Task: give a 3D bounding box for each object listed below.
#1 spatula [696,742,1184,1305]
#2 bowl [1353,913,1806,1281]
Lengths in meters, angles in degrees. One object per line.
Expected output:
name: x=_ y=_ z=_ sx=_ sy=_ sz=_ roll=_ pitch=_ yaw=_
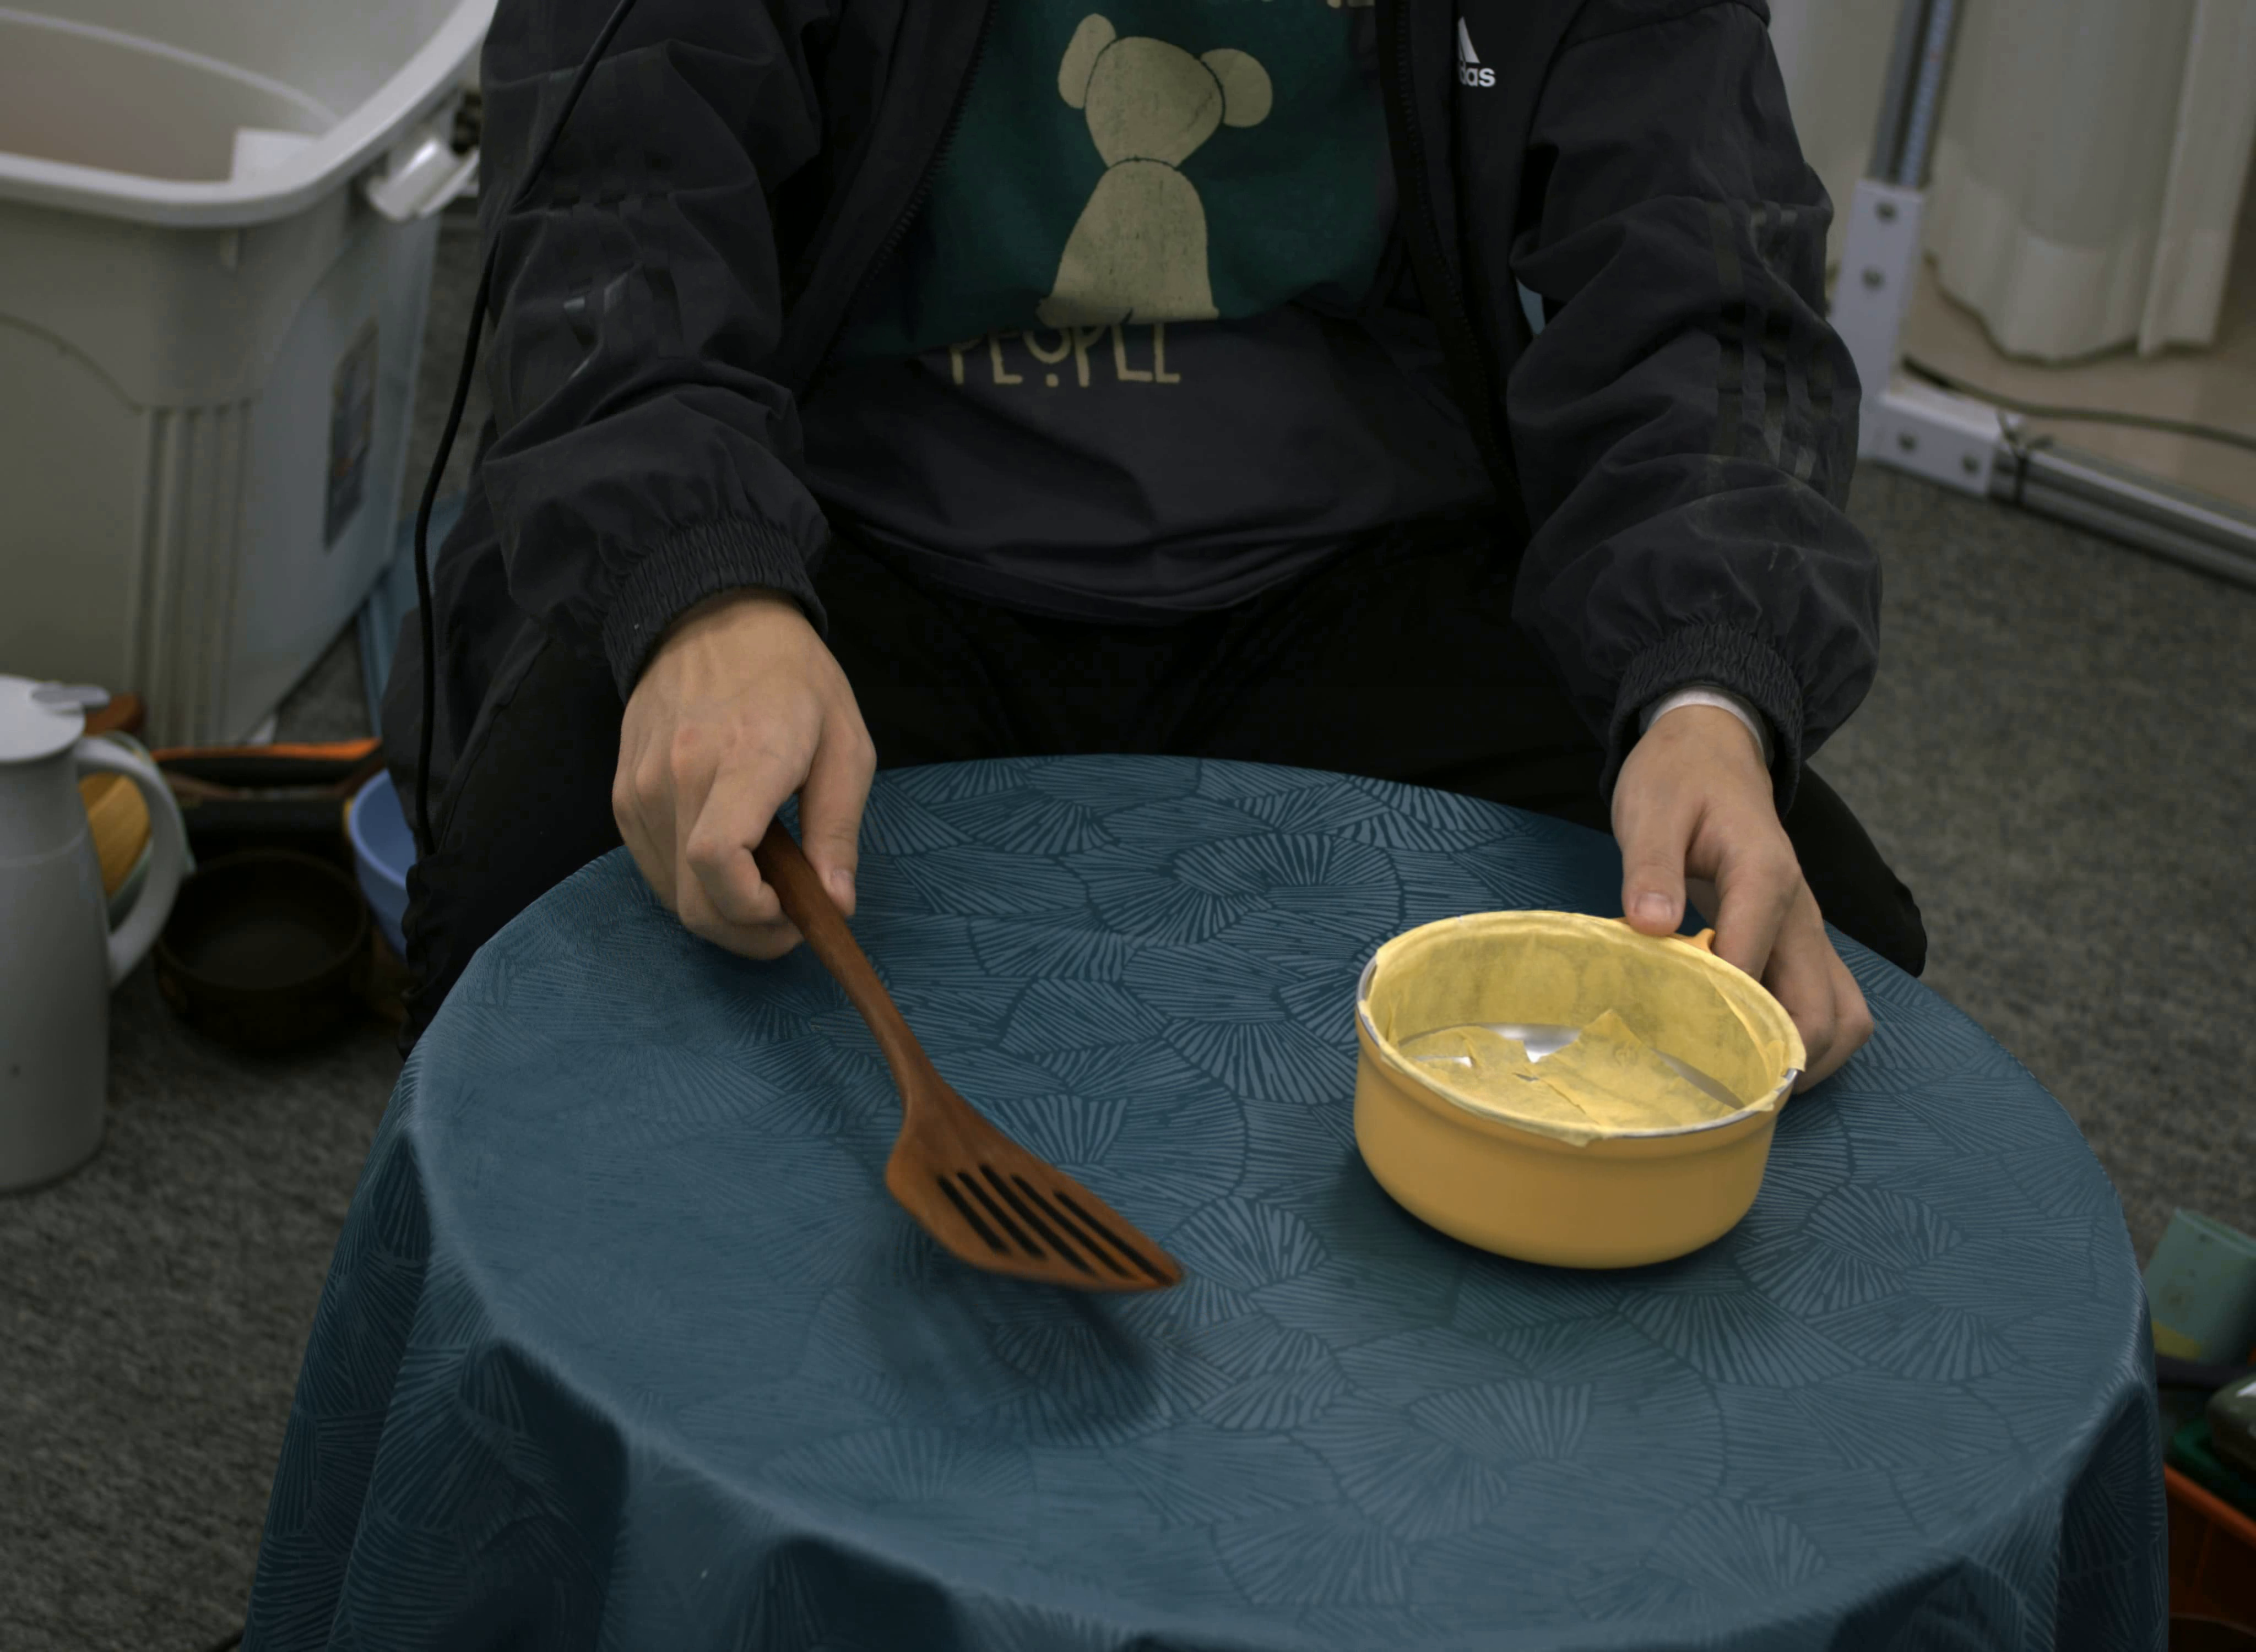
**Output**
spatula: x=-0.085 y=0.065 z=1.833 sx=0.085 sy=0.024 sz=0.390 roll=8 pitch=25 yaw=-28
bowl: x=0.157 y=0.091 z=1.836 sx=0.153 sy=0.074 sz=0.179 roll=16 pitch=29 yaw=16
